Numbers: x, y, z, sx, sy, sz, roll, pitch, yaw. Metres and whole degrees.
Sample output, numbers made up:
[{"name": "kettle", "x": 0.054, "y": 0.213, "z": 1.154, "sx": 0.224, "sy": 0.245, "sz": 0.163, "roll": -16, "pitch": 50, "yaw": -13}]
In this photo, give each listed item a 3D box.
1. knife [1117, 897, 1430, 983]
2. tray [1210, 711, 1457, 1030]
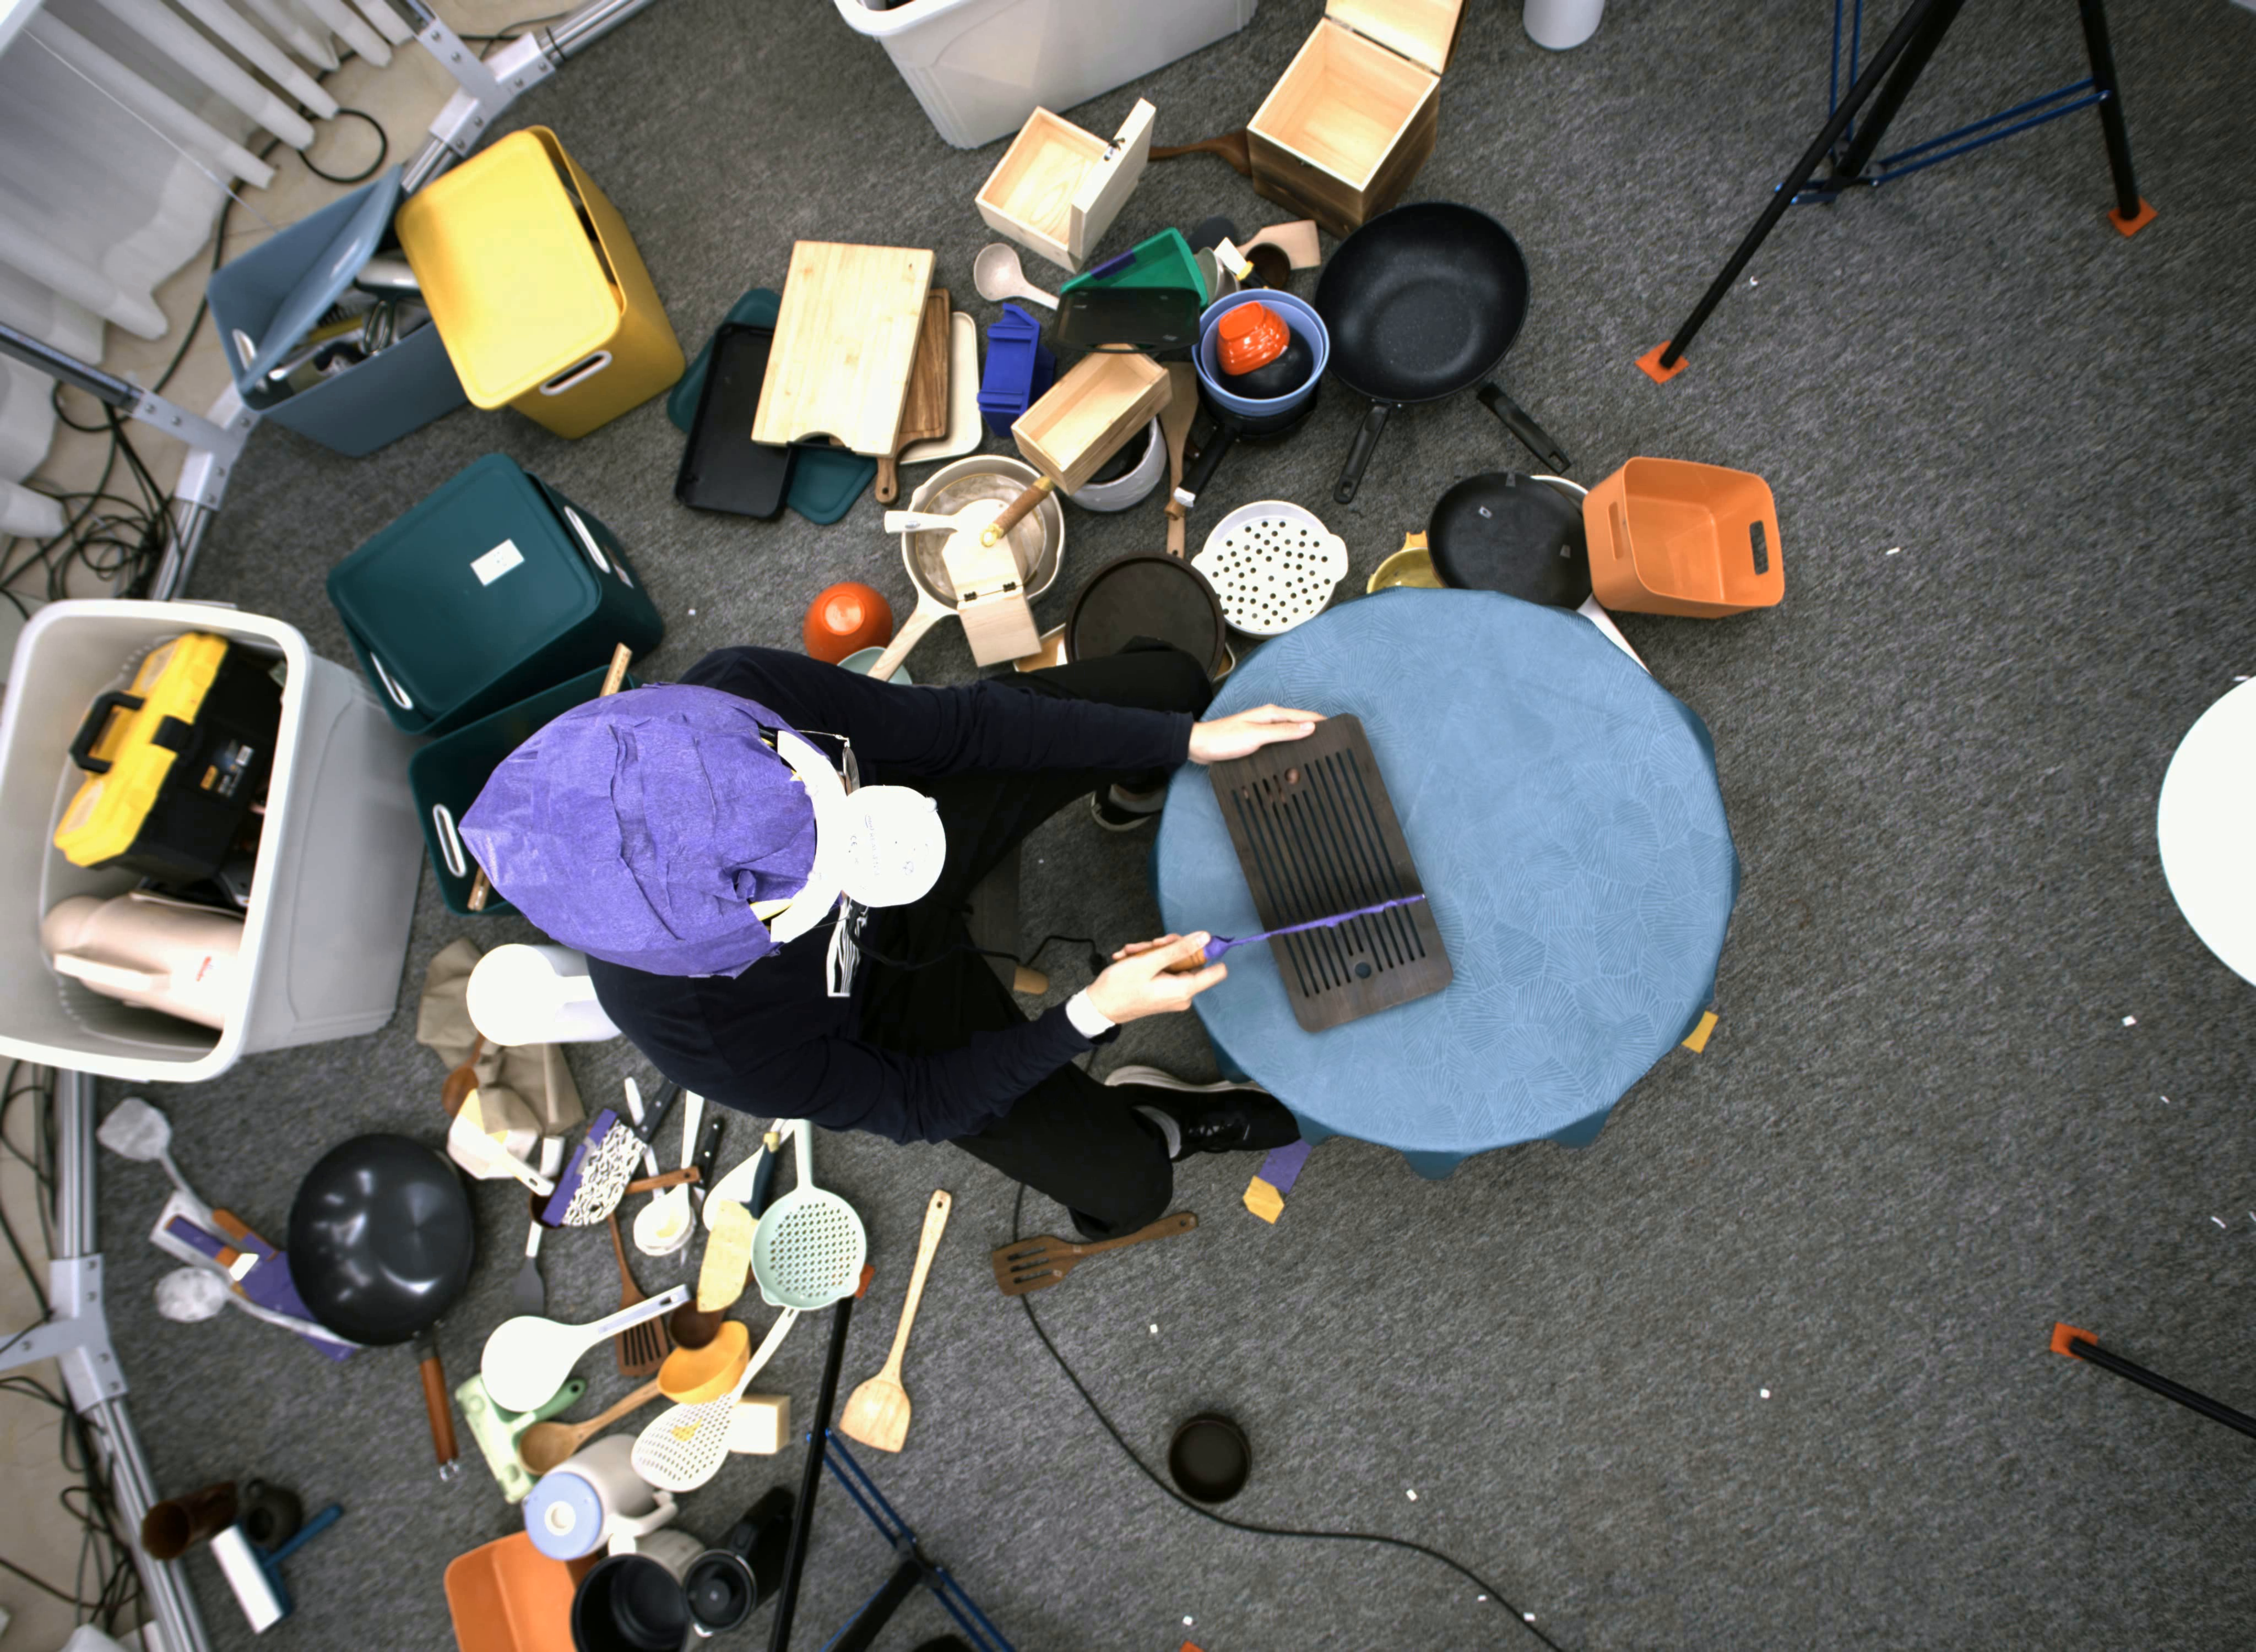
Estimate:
[{"name": "knife", "x": 0.149, "y": 0.112, "z": 1.399, "sx": 0.317, "sy": 0.103, "sz": 0.032, "roll": -12, "pitch": 84, "yaw": 13}, {"name": "tray", "x": 0.214, "y": 0.046, "z": 1.448, "sx": 0.171, "sy": 0.018, "sz": 0.305, "roll": -20, "pitch": 90, "yaw": 9}]
